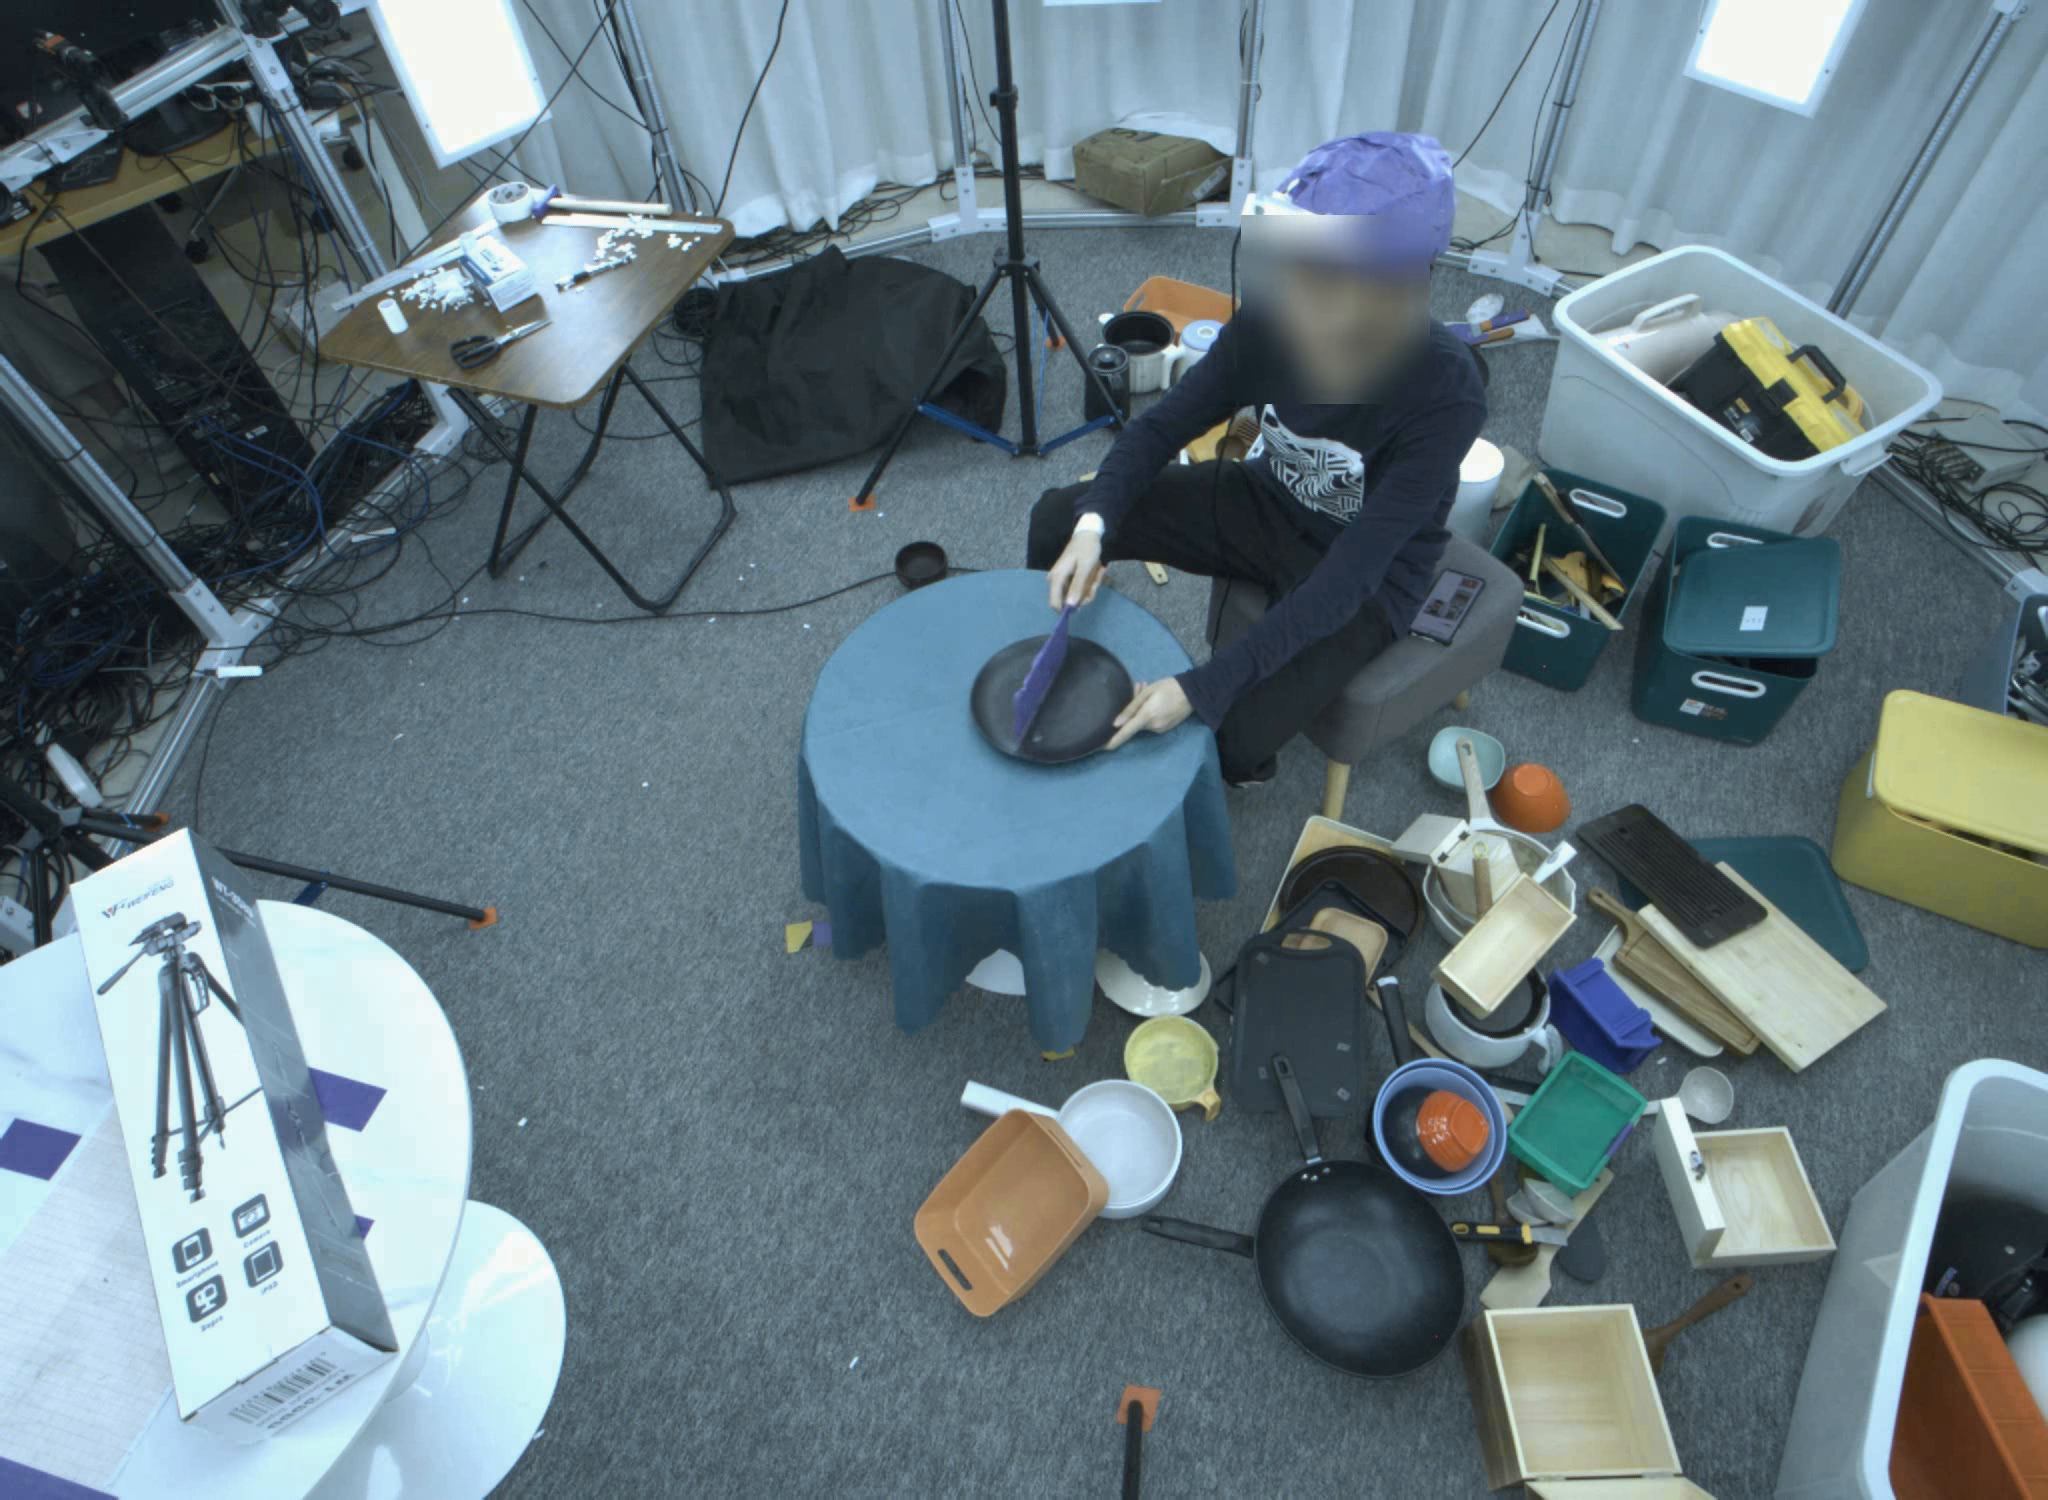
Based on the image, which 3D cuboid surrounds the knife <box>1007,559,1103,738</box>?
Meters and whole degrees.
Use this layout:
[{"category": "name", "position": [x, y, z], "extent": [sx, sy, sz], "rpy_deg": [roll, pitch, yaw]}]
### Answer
[{"category": "knife", "position": [0.042, -0.153, 1.824], "extent": [0.032, 0.105, 0.315], "rpy_deg": [21, 56, 14]}]

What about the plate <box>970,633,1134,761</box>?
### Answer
[{"category": "plate", "position": [0.041, -0.077, 1.833], "extent": [0.244, 0.024, 0.242], "rpy_deg": [-1, 54, 2]}]
